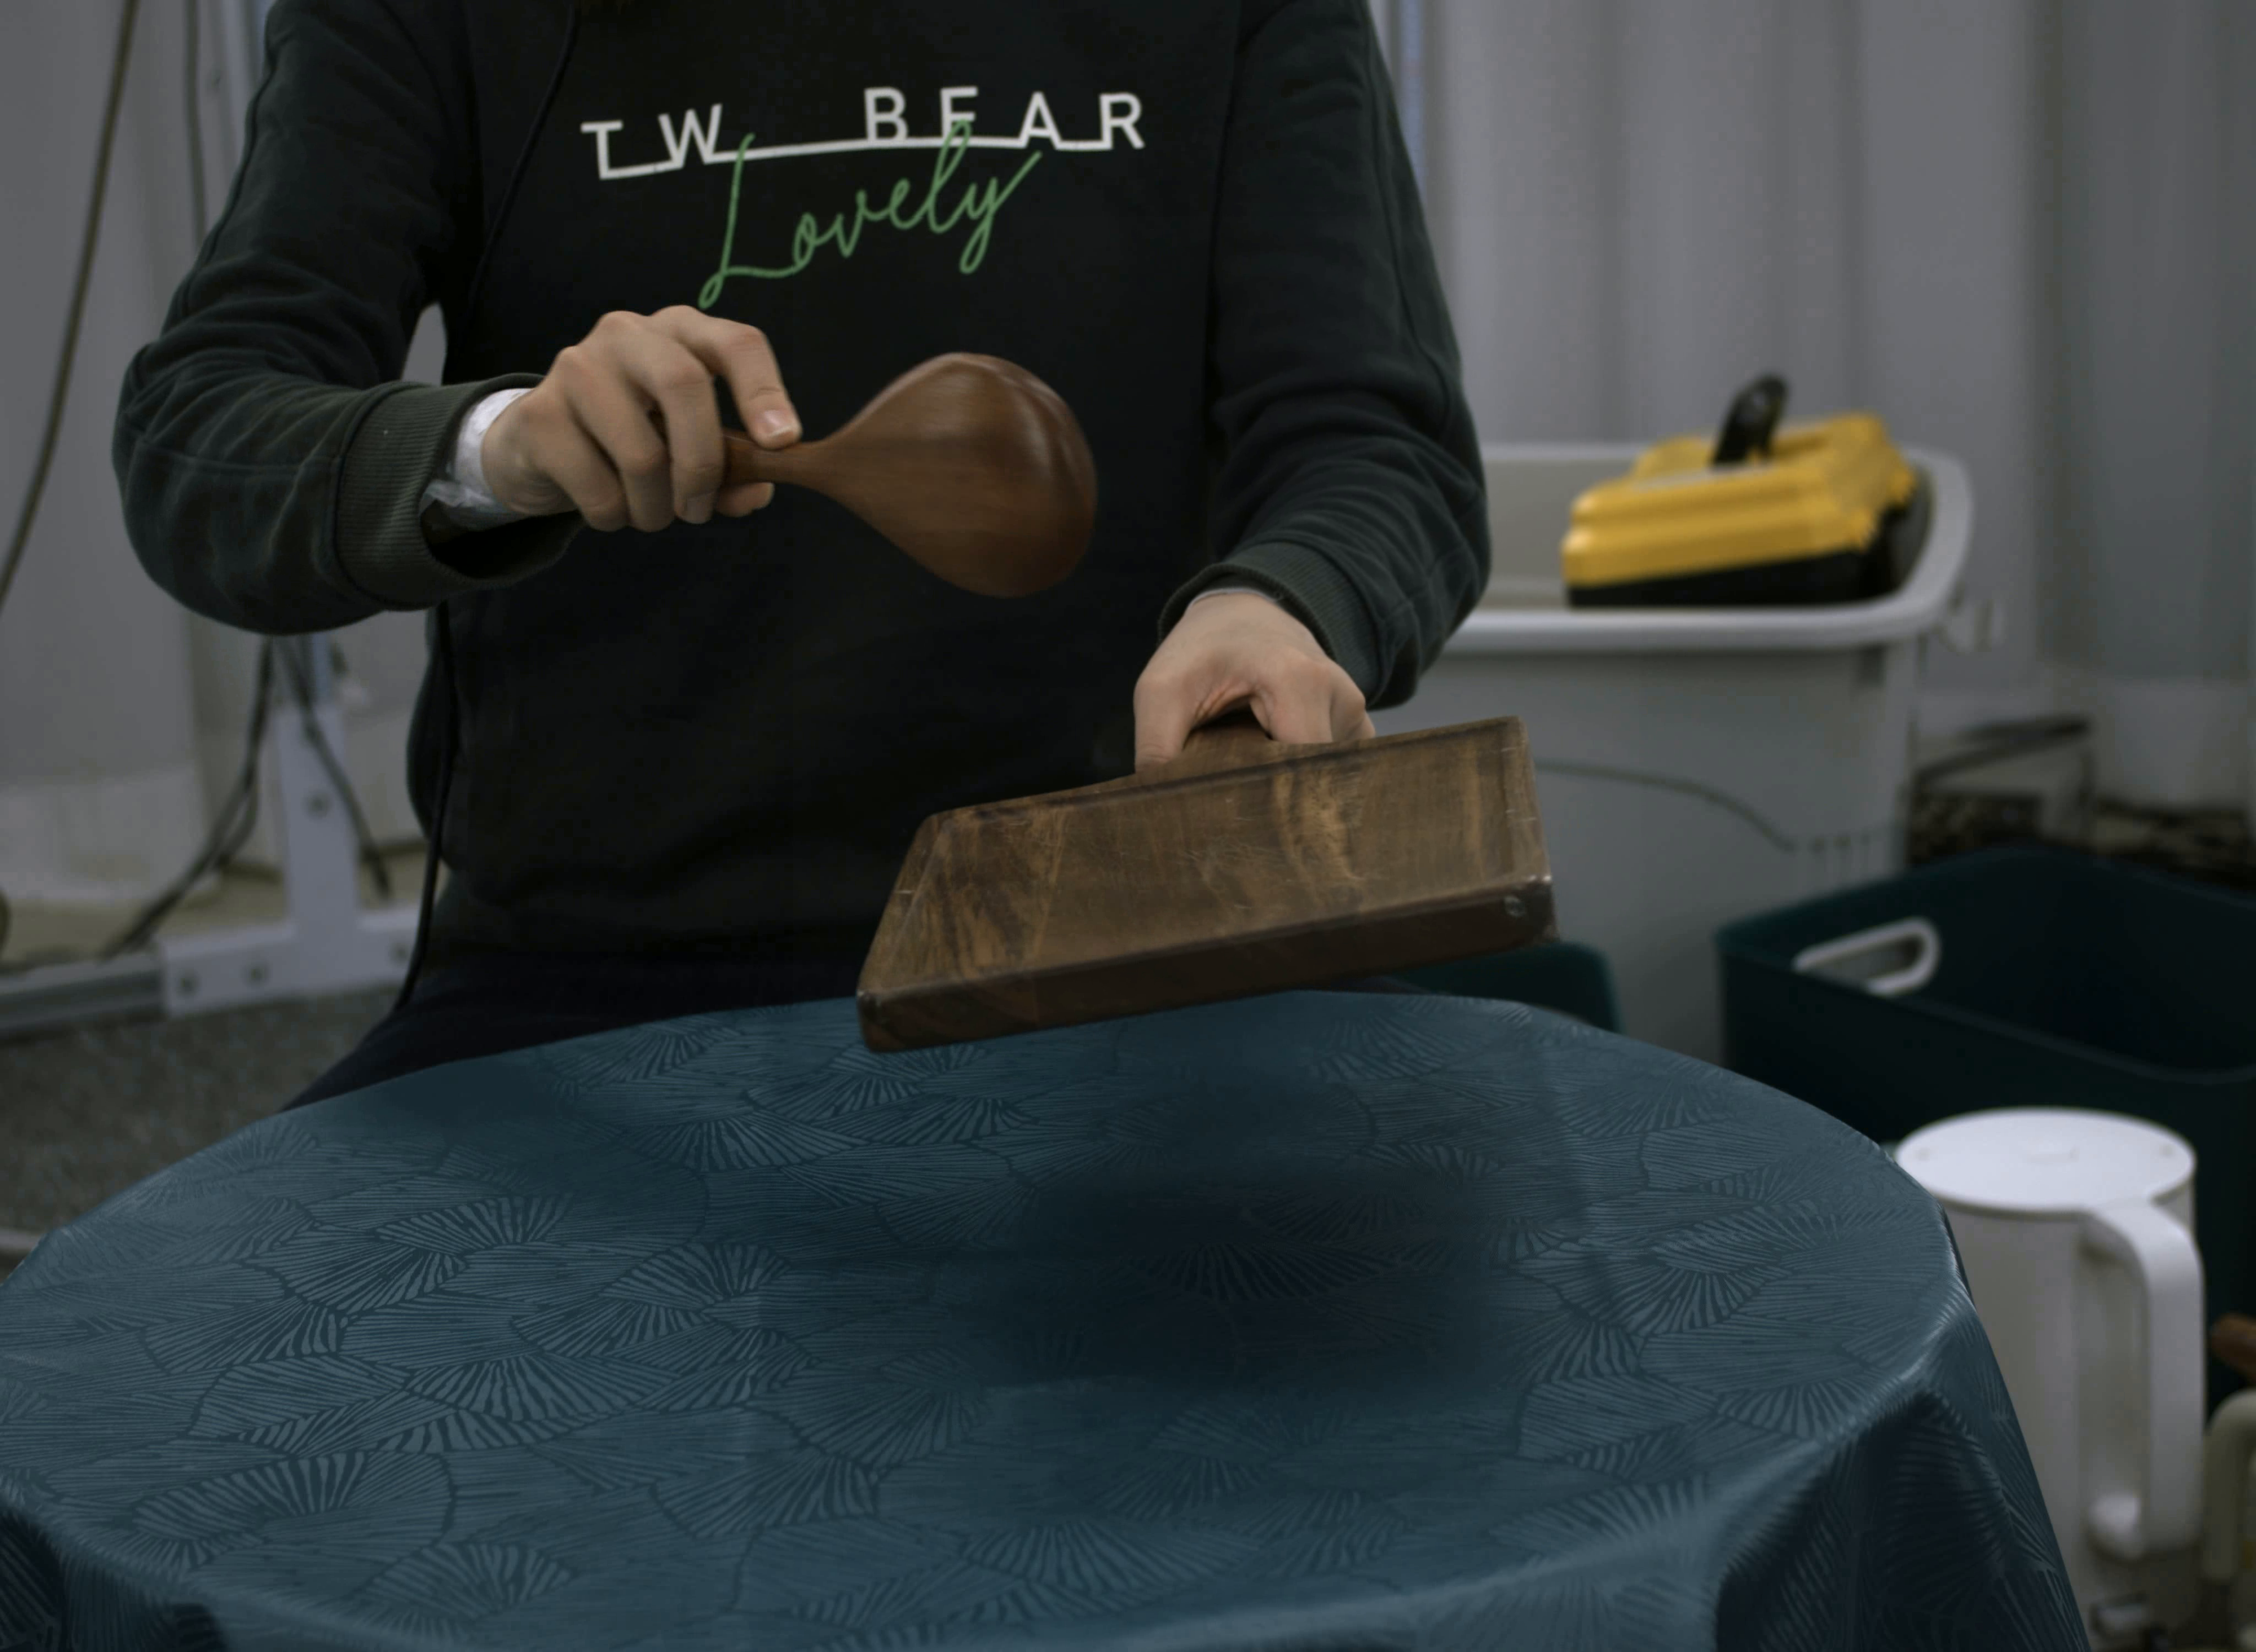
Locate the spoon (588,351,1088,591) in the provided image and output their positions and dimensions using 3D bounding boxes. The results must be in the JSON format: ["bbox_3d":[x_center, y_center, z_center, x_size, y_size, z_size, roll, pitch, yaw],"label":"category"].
[{"bbox_3d":[-0.092,-0.108,1.655,0.217,0.075,0.017,6,26,46],"label":"spoon"}]

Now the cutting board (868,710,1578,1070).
[{"bbox_3d":[0.030,0.007,1.661,0.200,0.023,0.354,-11,11,4],"label":"cutting board"}]
